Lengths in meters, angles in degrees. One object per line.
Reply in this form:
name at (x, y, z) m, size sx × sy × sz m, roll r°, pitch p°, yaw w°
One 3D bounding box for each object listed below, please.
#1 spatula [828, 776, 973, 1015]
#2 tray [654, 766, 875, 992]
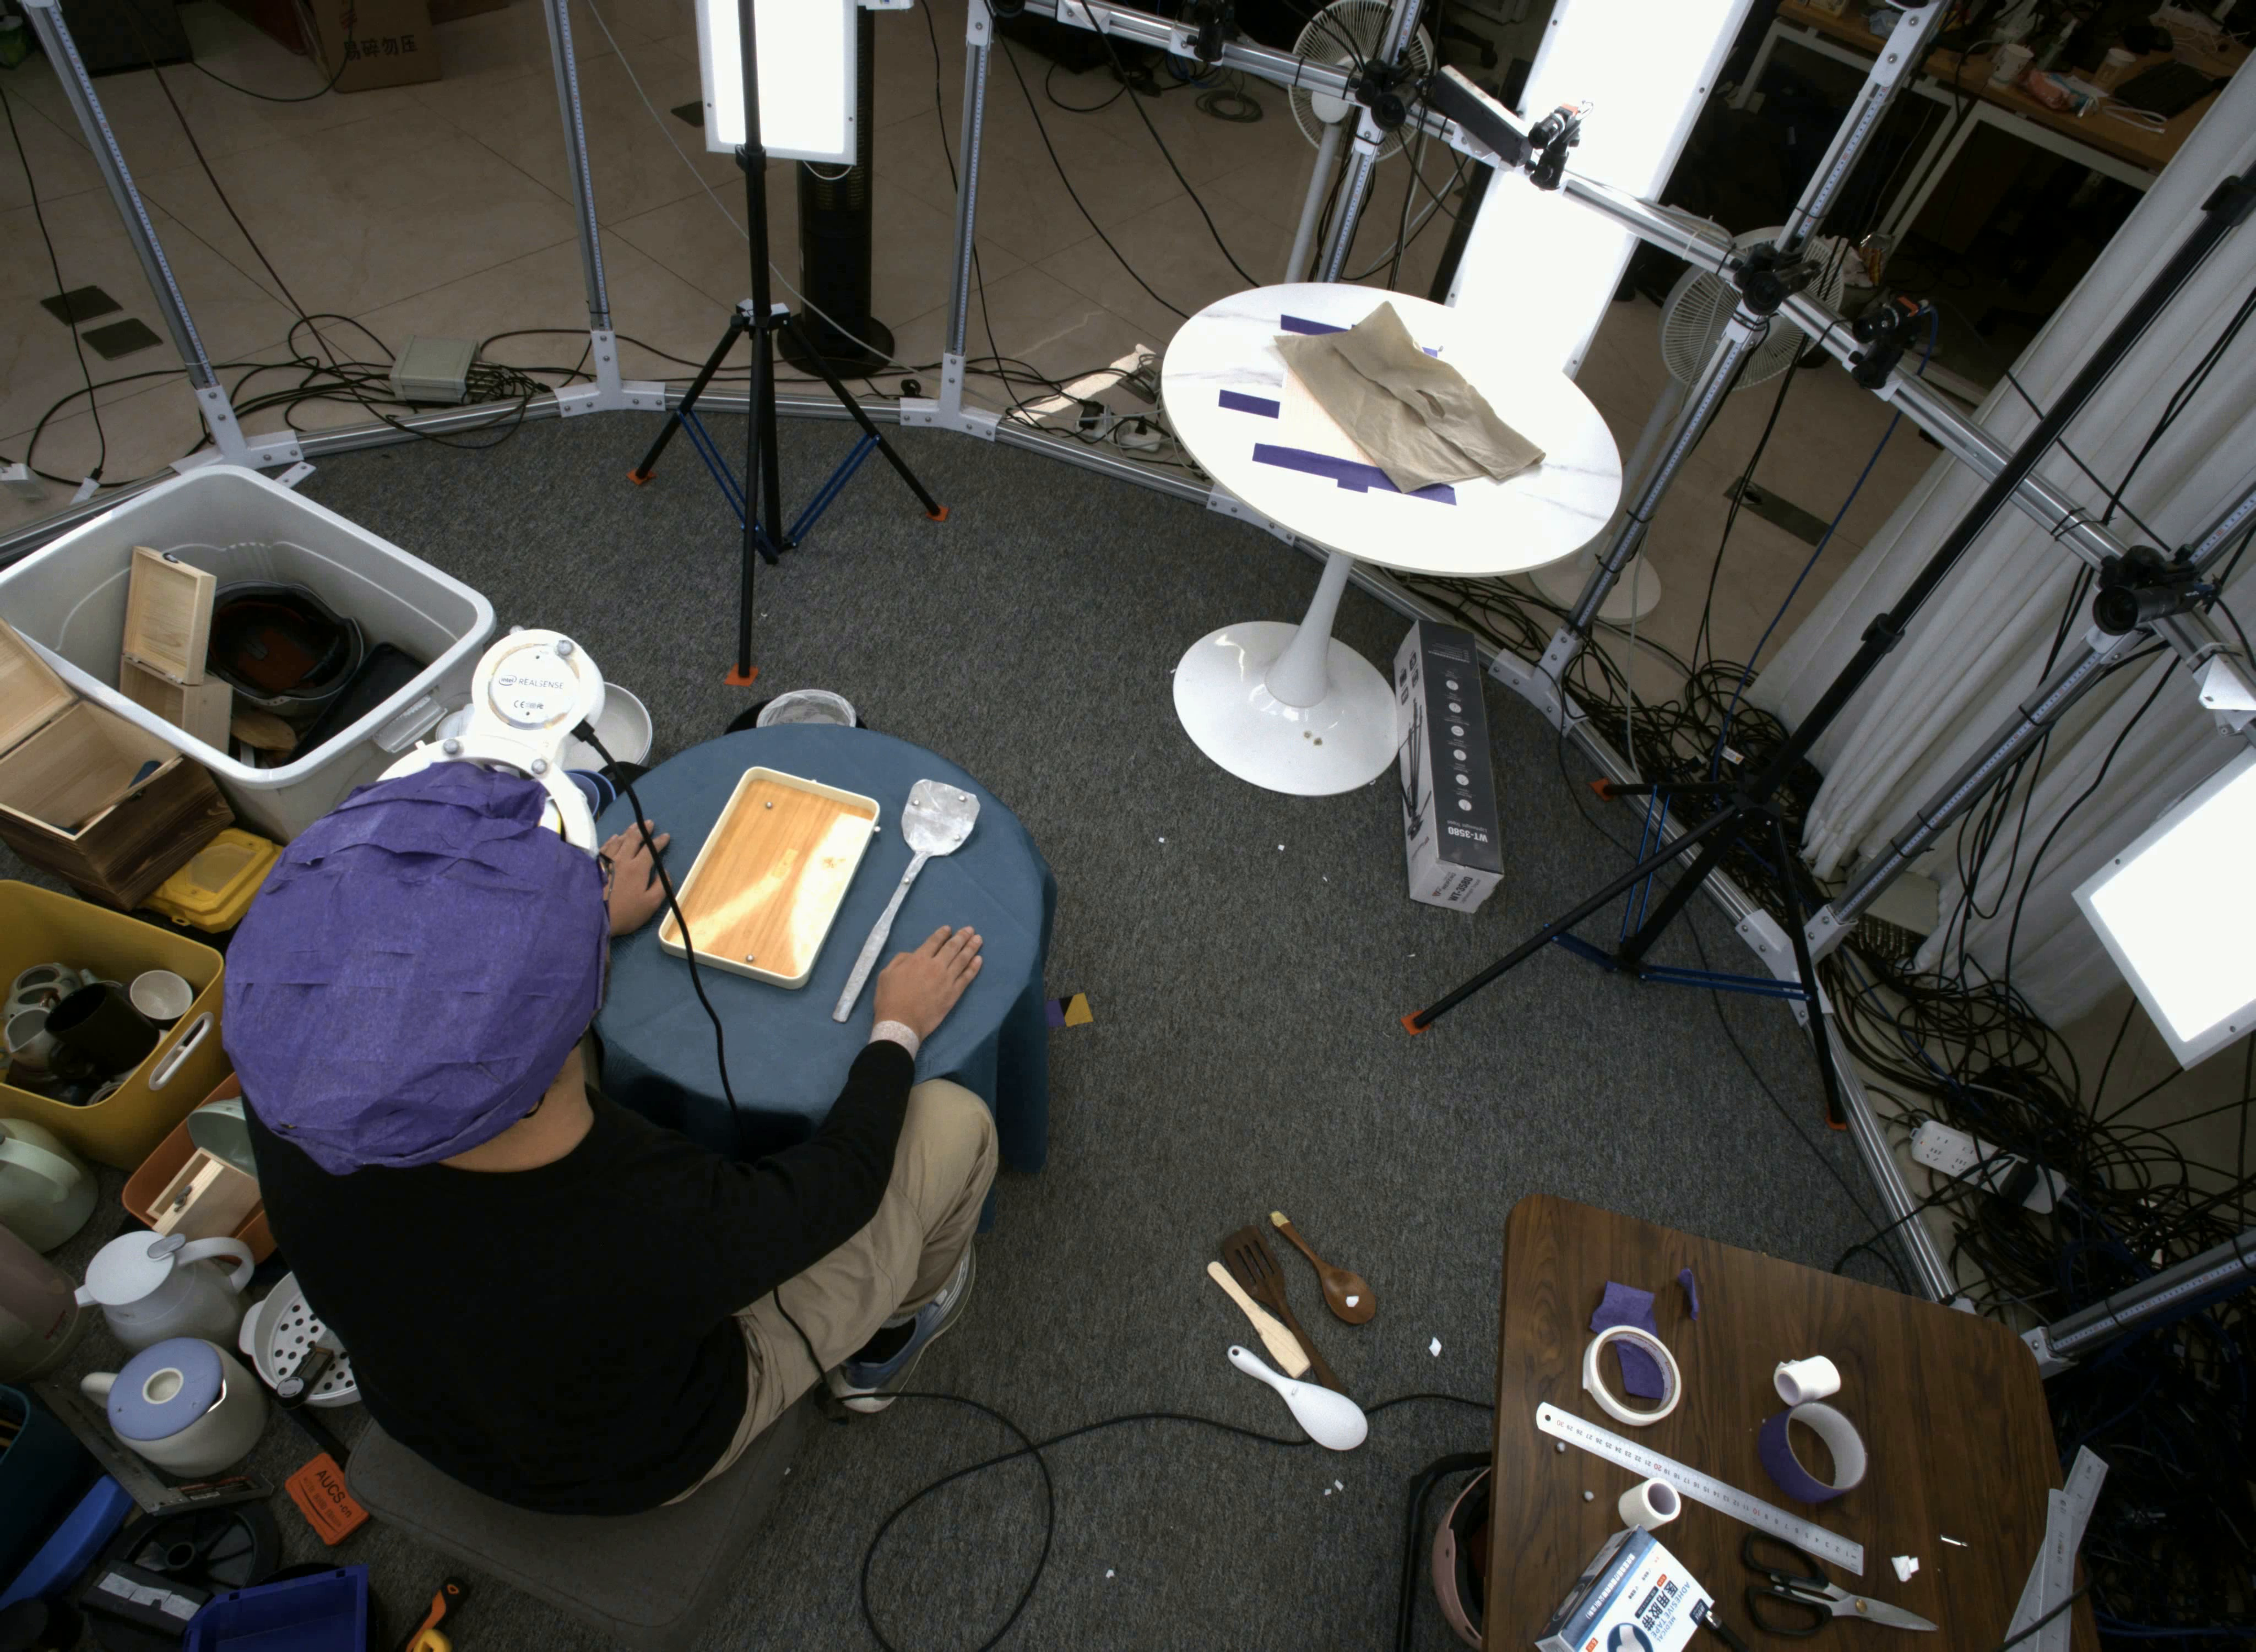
spatula at (-0.301, 0.084, 1.664) m, size 0.098 × 0.045 × 0.361 m, roll 20°, pitch 51°, yaw 0°
tray at (-0.457, 0.059, 1.648) m, size 0.190 × 0.028 × 0.296 m, roll 17°, pitch 52°, yaw -2°
